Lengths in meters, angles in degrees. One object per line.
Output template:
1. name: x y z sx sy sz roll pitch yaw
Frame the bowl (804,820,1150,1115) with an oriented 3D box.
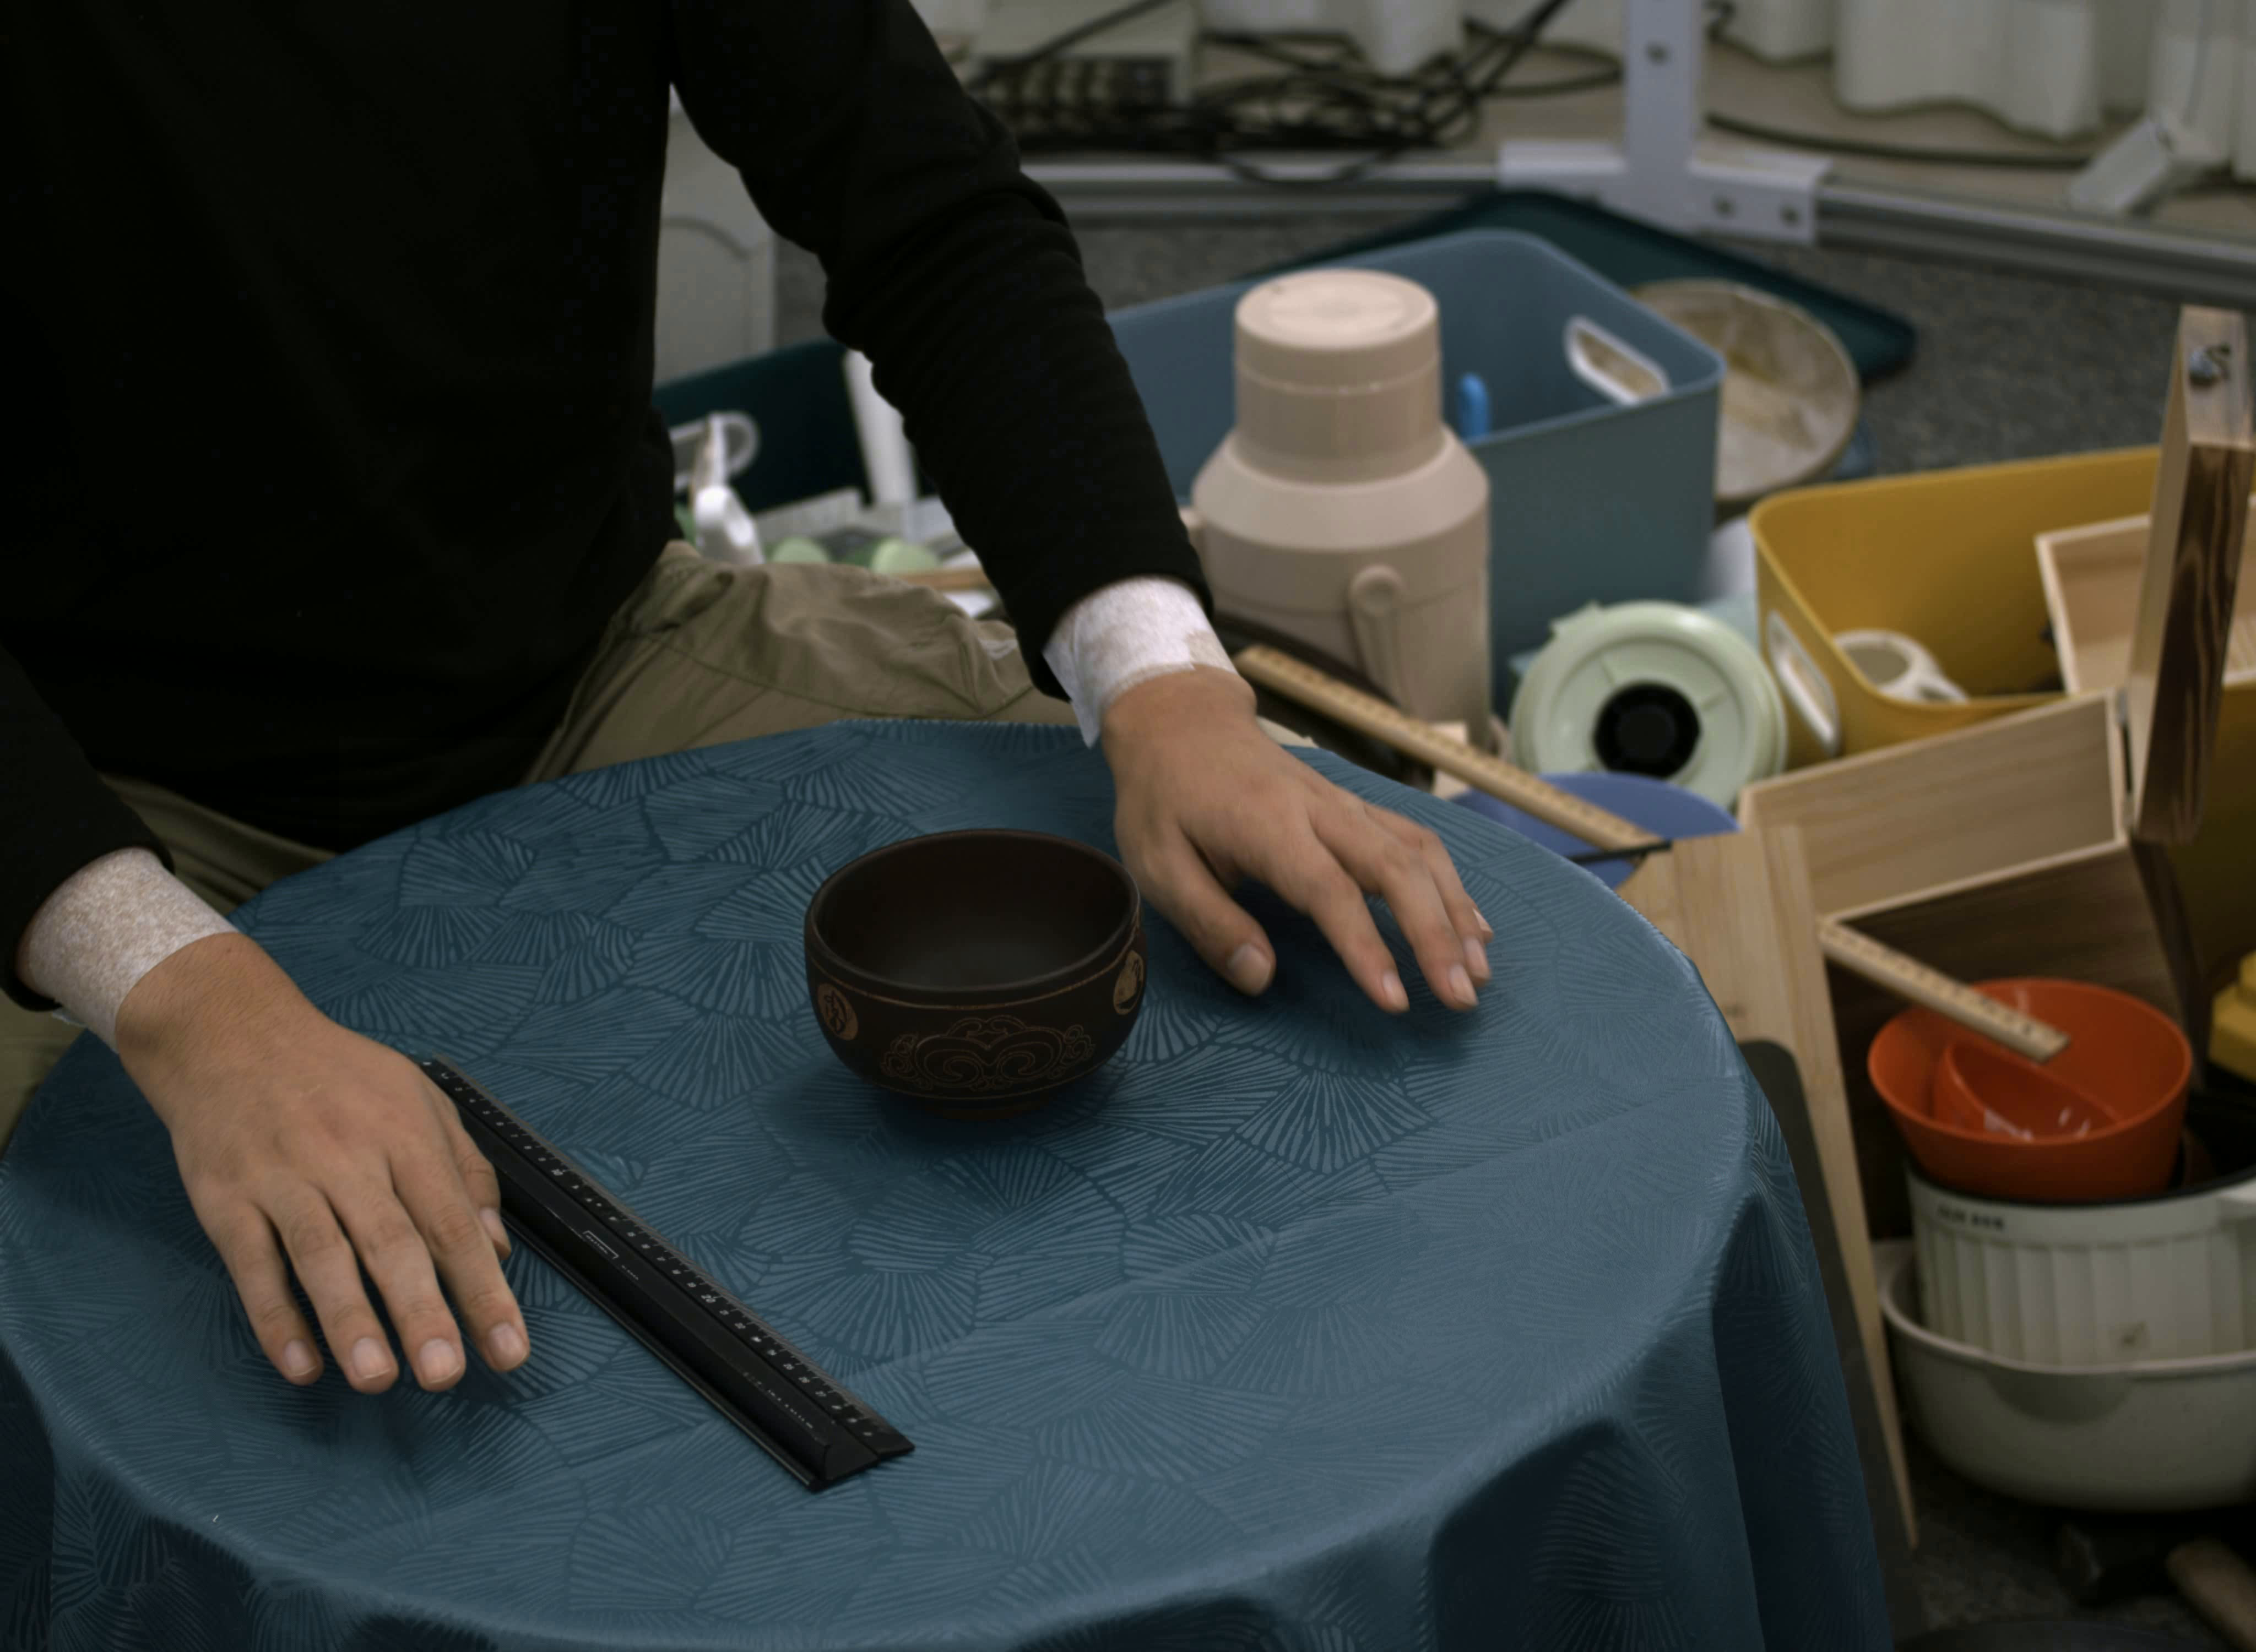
1. bowl: -0.051 0.055 1.916 0.117 0.069 0.120 -2 27 1

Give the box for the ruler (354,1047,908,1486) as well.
1. ruler: -0.167 0.135 1.834 0.039 0.017 0.313 -15 29 -30
